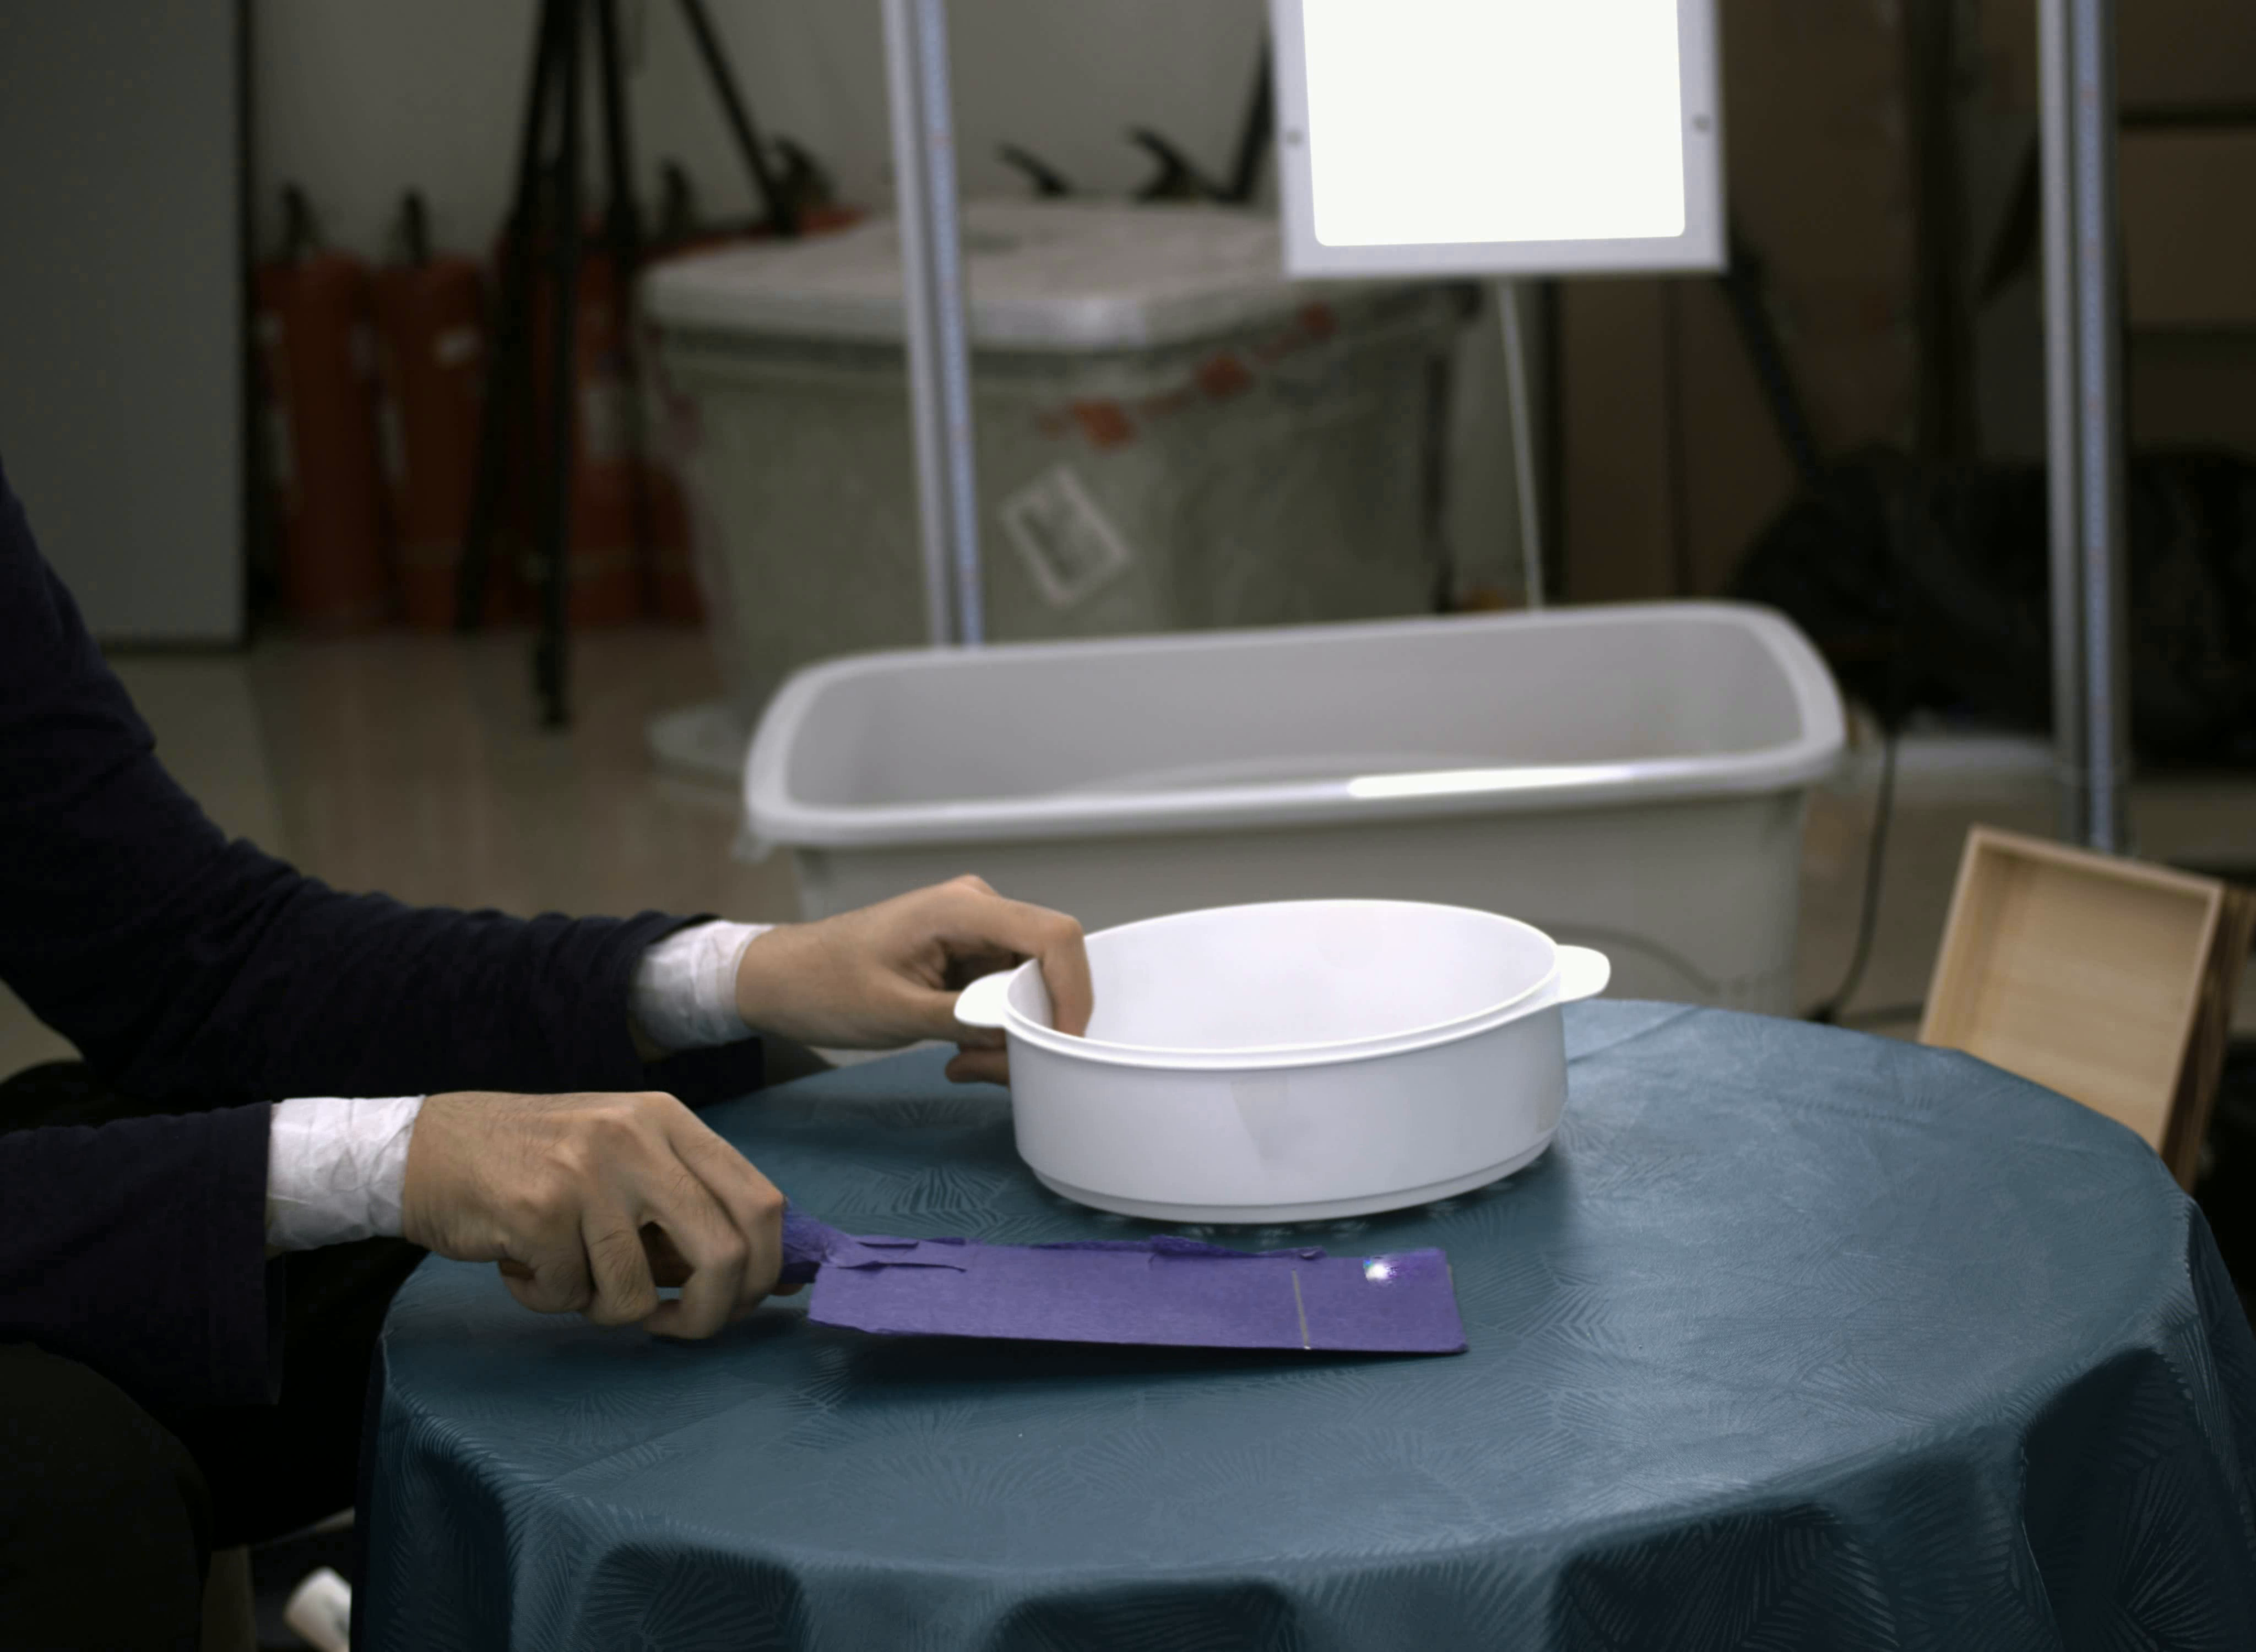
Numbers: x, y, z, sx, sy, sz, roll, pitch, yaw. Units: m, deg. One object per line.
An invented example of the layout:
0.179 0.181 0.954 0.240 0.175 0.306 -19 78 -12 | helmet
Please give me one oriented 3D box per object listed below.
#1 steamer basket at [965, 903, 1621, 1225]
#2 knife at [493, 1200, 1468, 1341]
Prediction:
0.060 0.083 1.919 0.232 0.069 0.200 -5 12 10 | steamer basket
-0.049 0.143 1.759 0.315 0.032 0.103 -1 12 3 | knife
